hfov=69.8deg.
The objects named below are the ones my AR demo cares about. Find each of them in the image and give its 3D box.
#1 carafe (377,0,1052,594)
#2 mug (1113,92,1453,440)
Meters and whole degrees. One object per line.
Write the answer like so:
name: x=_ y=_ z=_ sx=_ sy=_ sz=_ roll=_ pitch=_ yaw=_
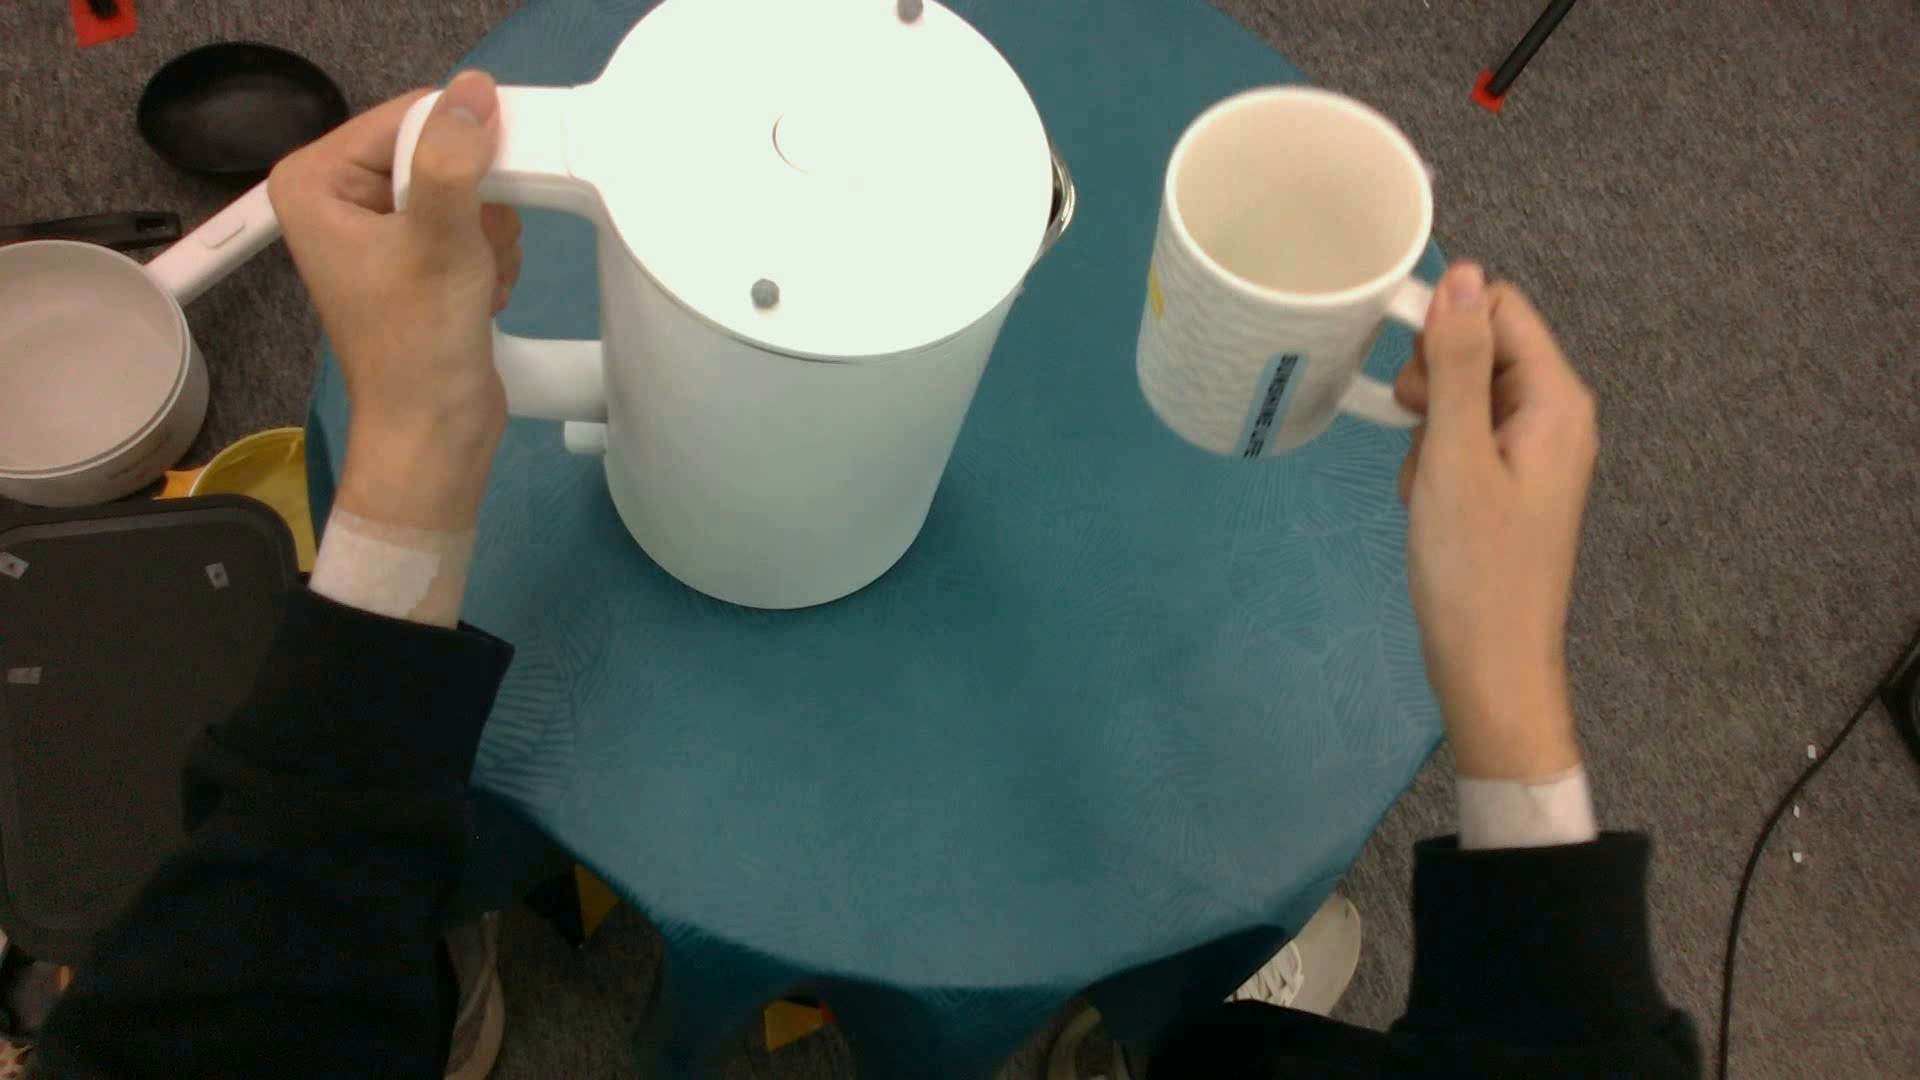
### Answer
carafe: x=-0.097 y=-0.089 z=0.527 sx=0.213 sy=0.239 sz=0.152 roll=1 pitch=68 yaw=-14
mug: x=0.116 y=-0.087 z=0.500 sx=0.118 sy=0.101 sz=0.085 roll=33 pitch=67 yaw=14
